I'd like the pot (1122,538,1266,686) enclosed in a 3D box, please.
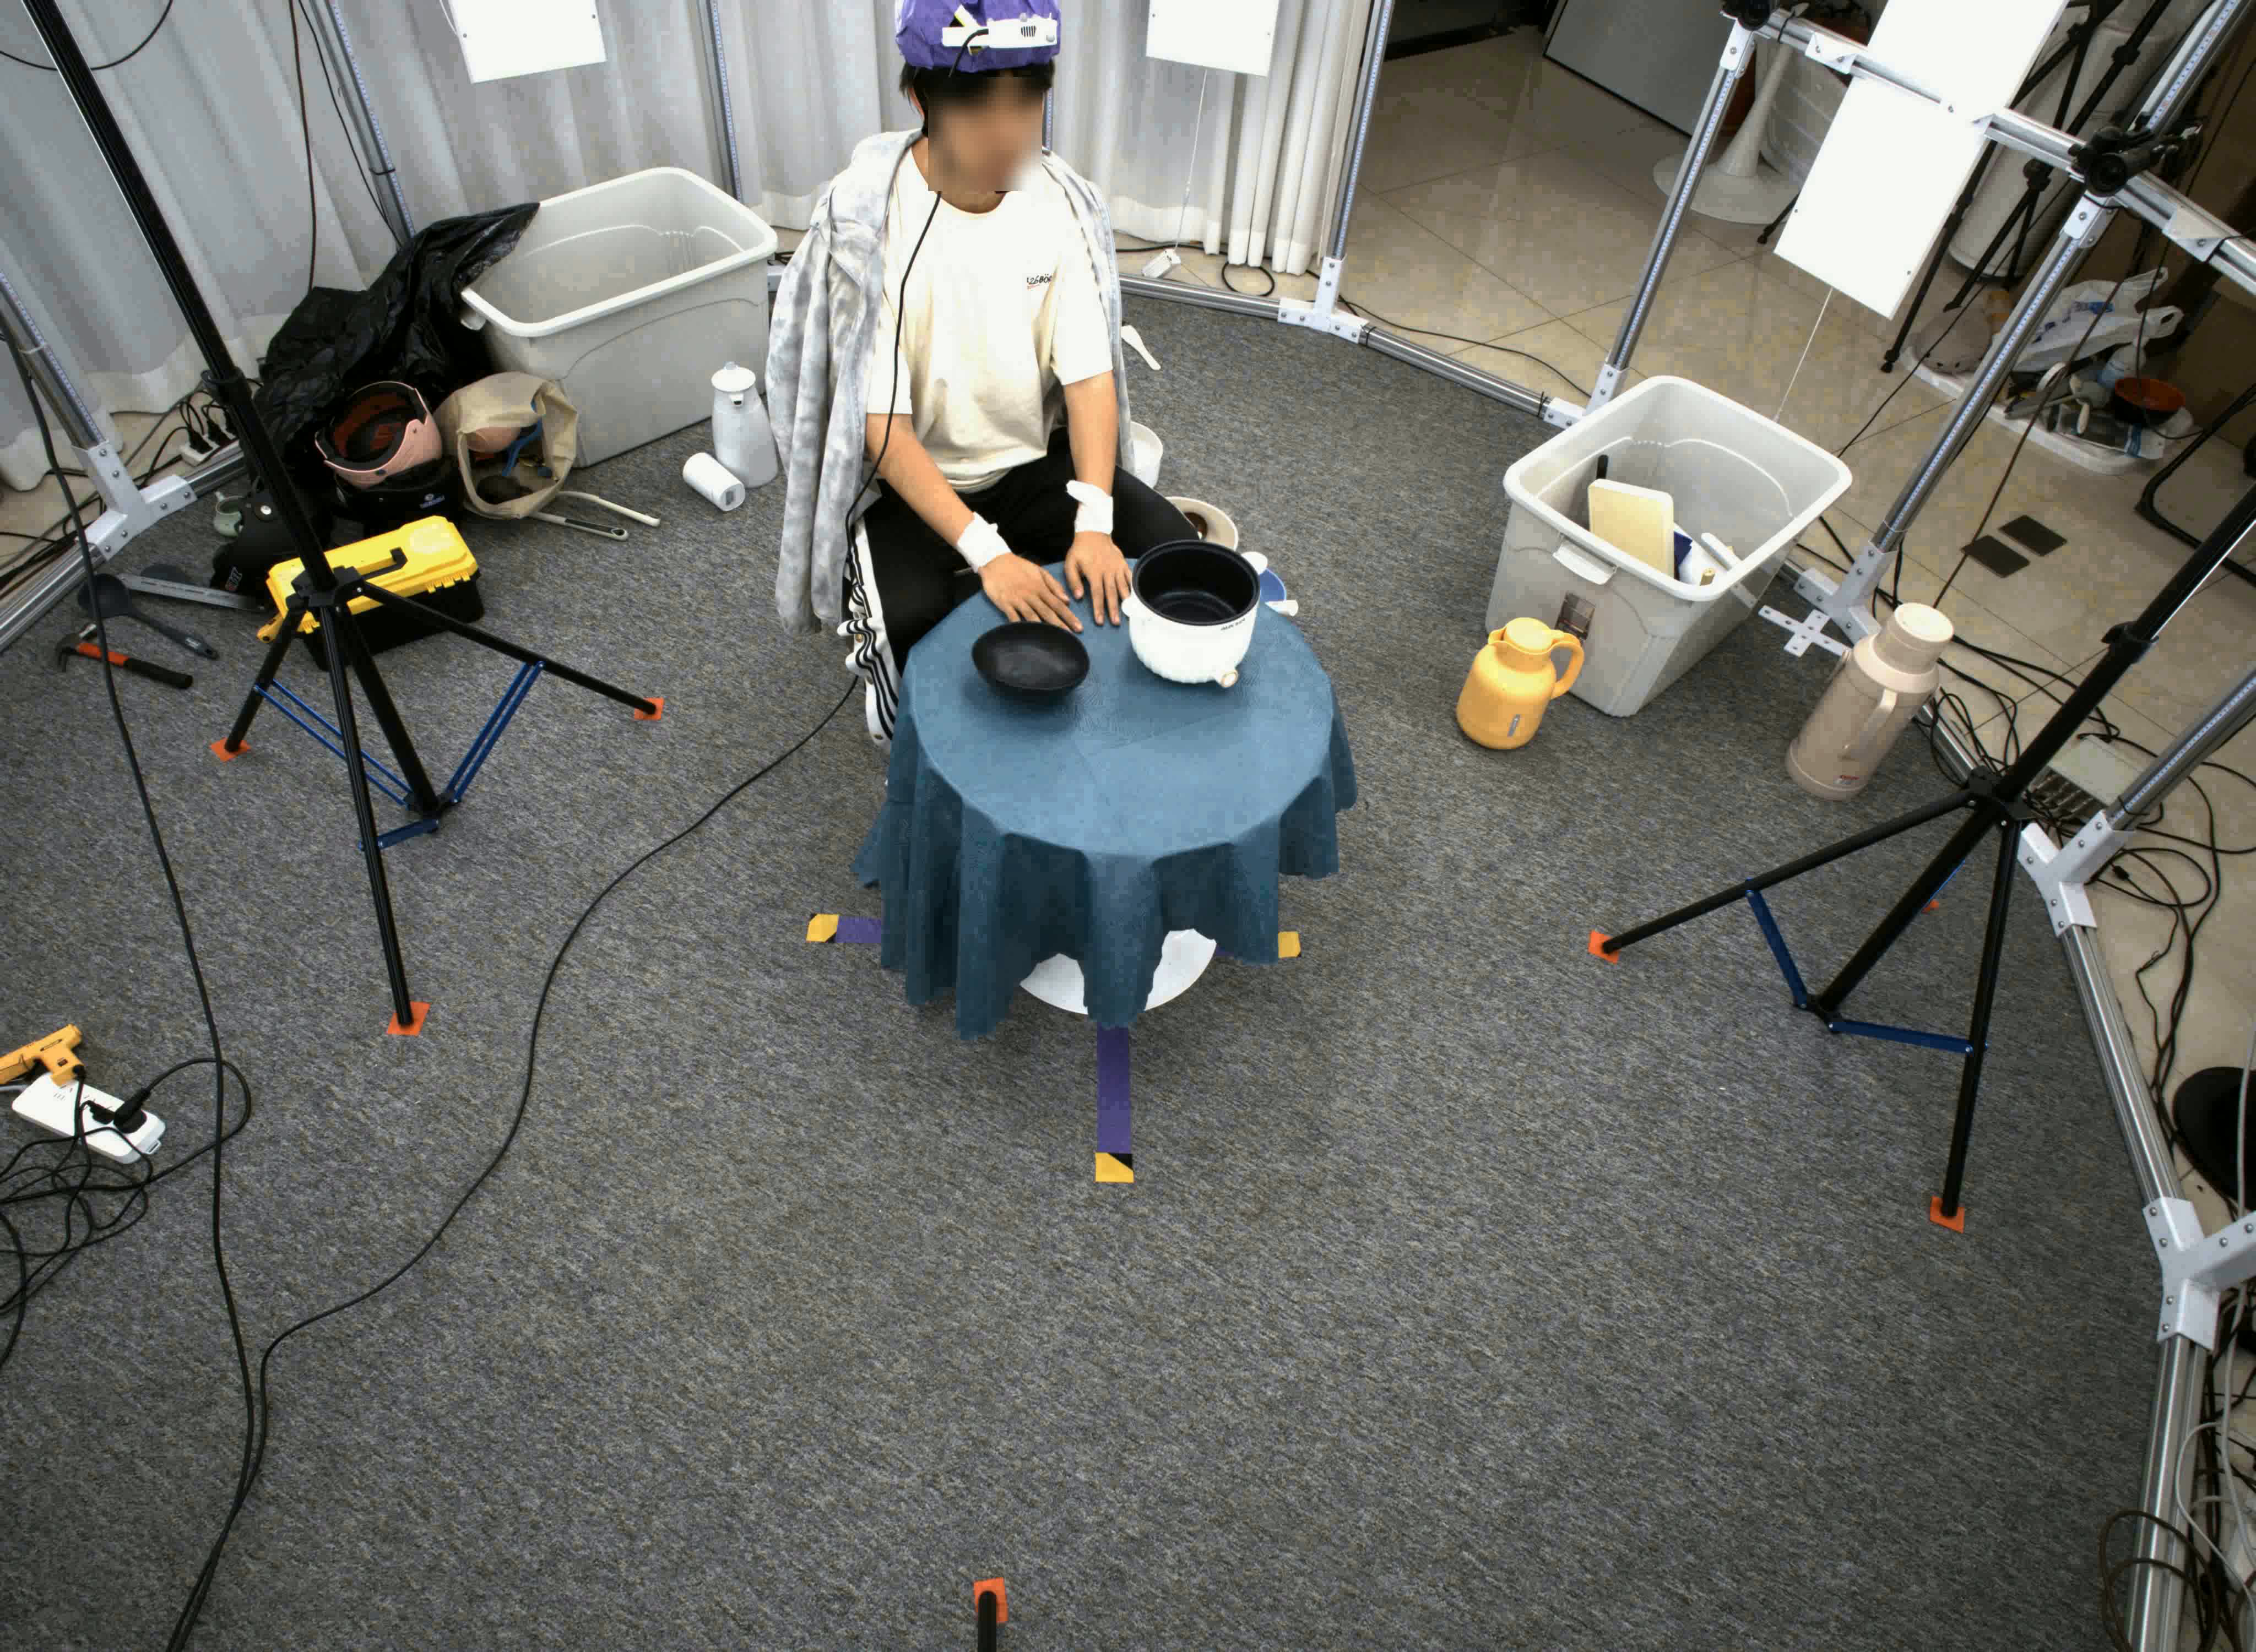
[{"bbox_3d":[0.096,-0.298,1.838,0.241,0.139,0.194,-26,52,-23],"label":"pot"}]

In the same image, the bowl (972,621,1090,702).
[{"bbox_3d":[-0.137,-0.220,1.801,0.171,0.065,0.140,16,48,11],"label":"bowl"}]
